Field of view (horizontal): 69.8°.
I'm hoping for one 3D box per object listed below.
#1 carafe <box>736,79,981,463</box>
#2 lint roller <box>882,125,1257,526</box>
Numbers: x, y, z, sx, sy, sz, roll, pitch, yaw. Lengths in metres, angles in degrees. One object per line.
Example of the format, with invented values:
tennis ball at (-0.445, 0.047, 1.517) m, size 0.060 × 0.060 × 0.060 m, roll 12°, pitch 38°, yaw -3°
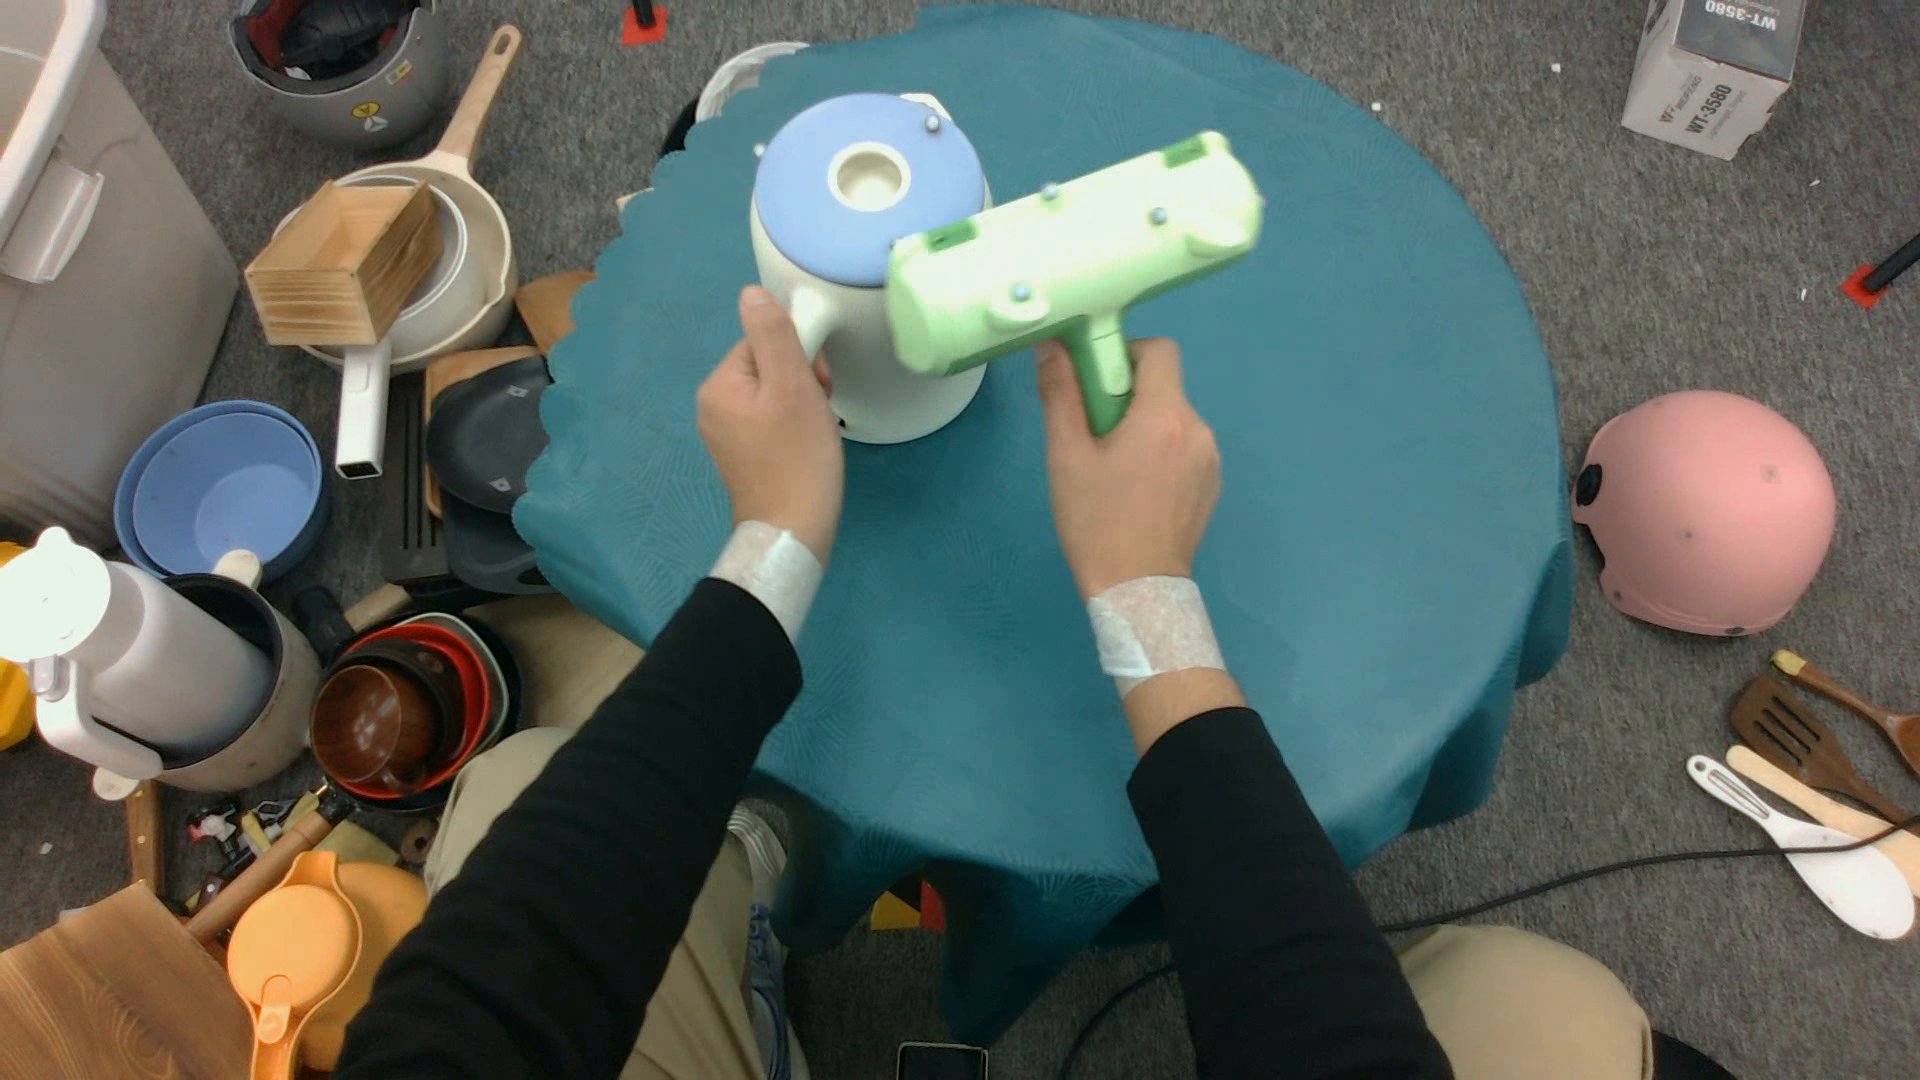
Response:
carafe at (-0.065, -0.135, 0.774) m, size 0.132 × 0.182 × 0.192 m, roll 21°, pitch 70°, yaw 8°
lint roller at (0.073, -0.090, 0.669) m, size 0.199 × 0.082 × 0.183 m, roll -23°, pitch 105°, yaw -24°
